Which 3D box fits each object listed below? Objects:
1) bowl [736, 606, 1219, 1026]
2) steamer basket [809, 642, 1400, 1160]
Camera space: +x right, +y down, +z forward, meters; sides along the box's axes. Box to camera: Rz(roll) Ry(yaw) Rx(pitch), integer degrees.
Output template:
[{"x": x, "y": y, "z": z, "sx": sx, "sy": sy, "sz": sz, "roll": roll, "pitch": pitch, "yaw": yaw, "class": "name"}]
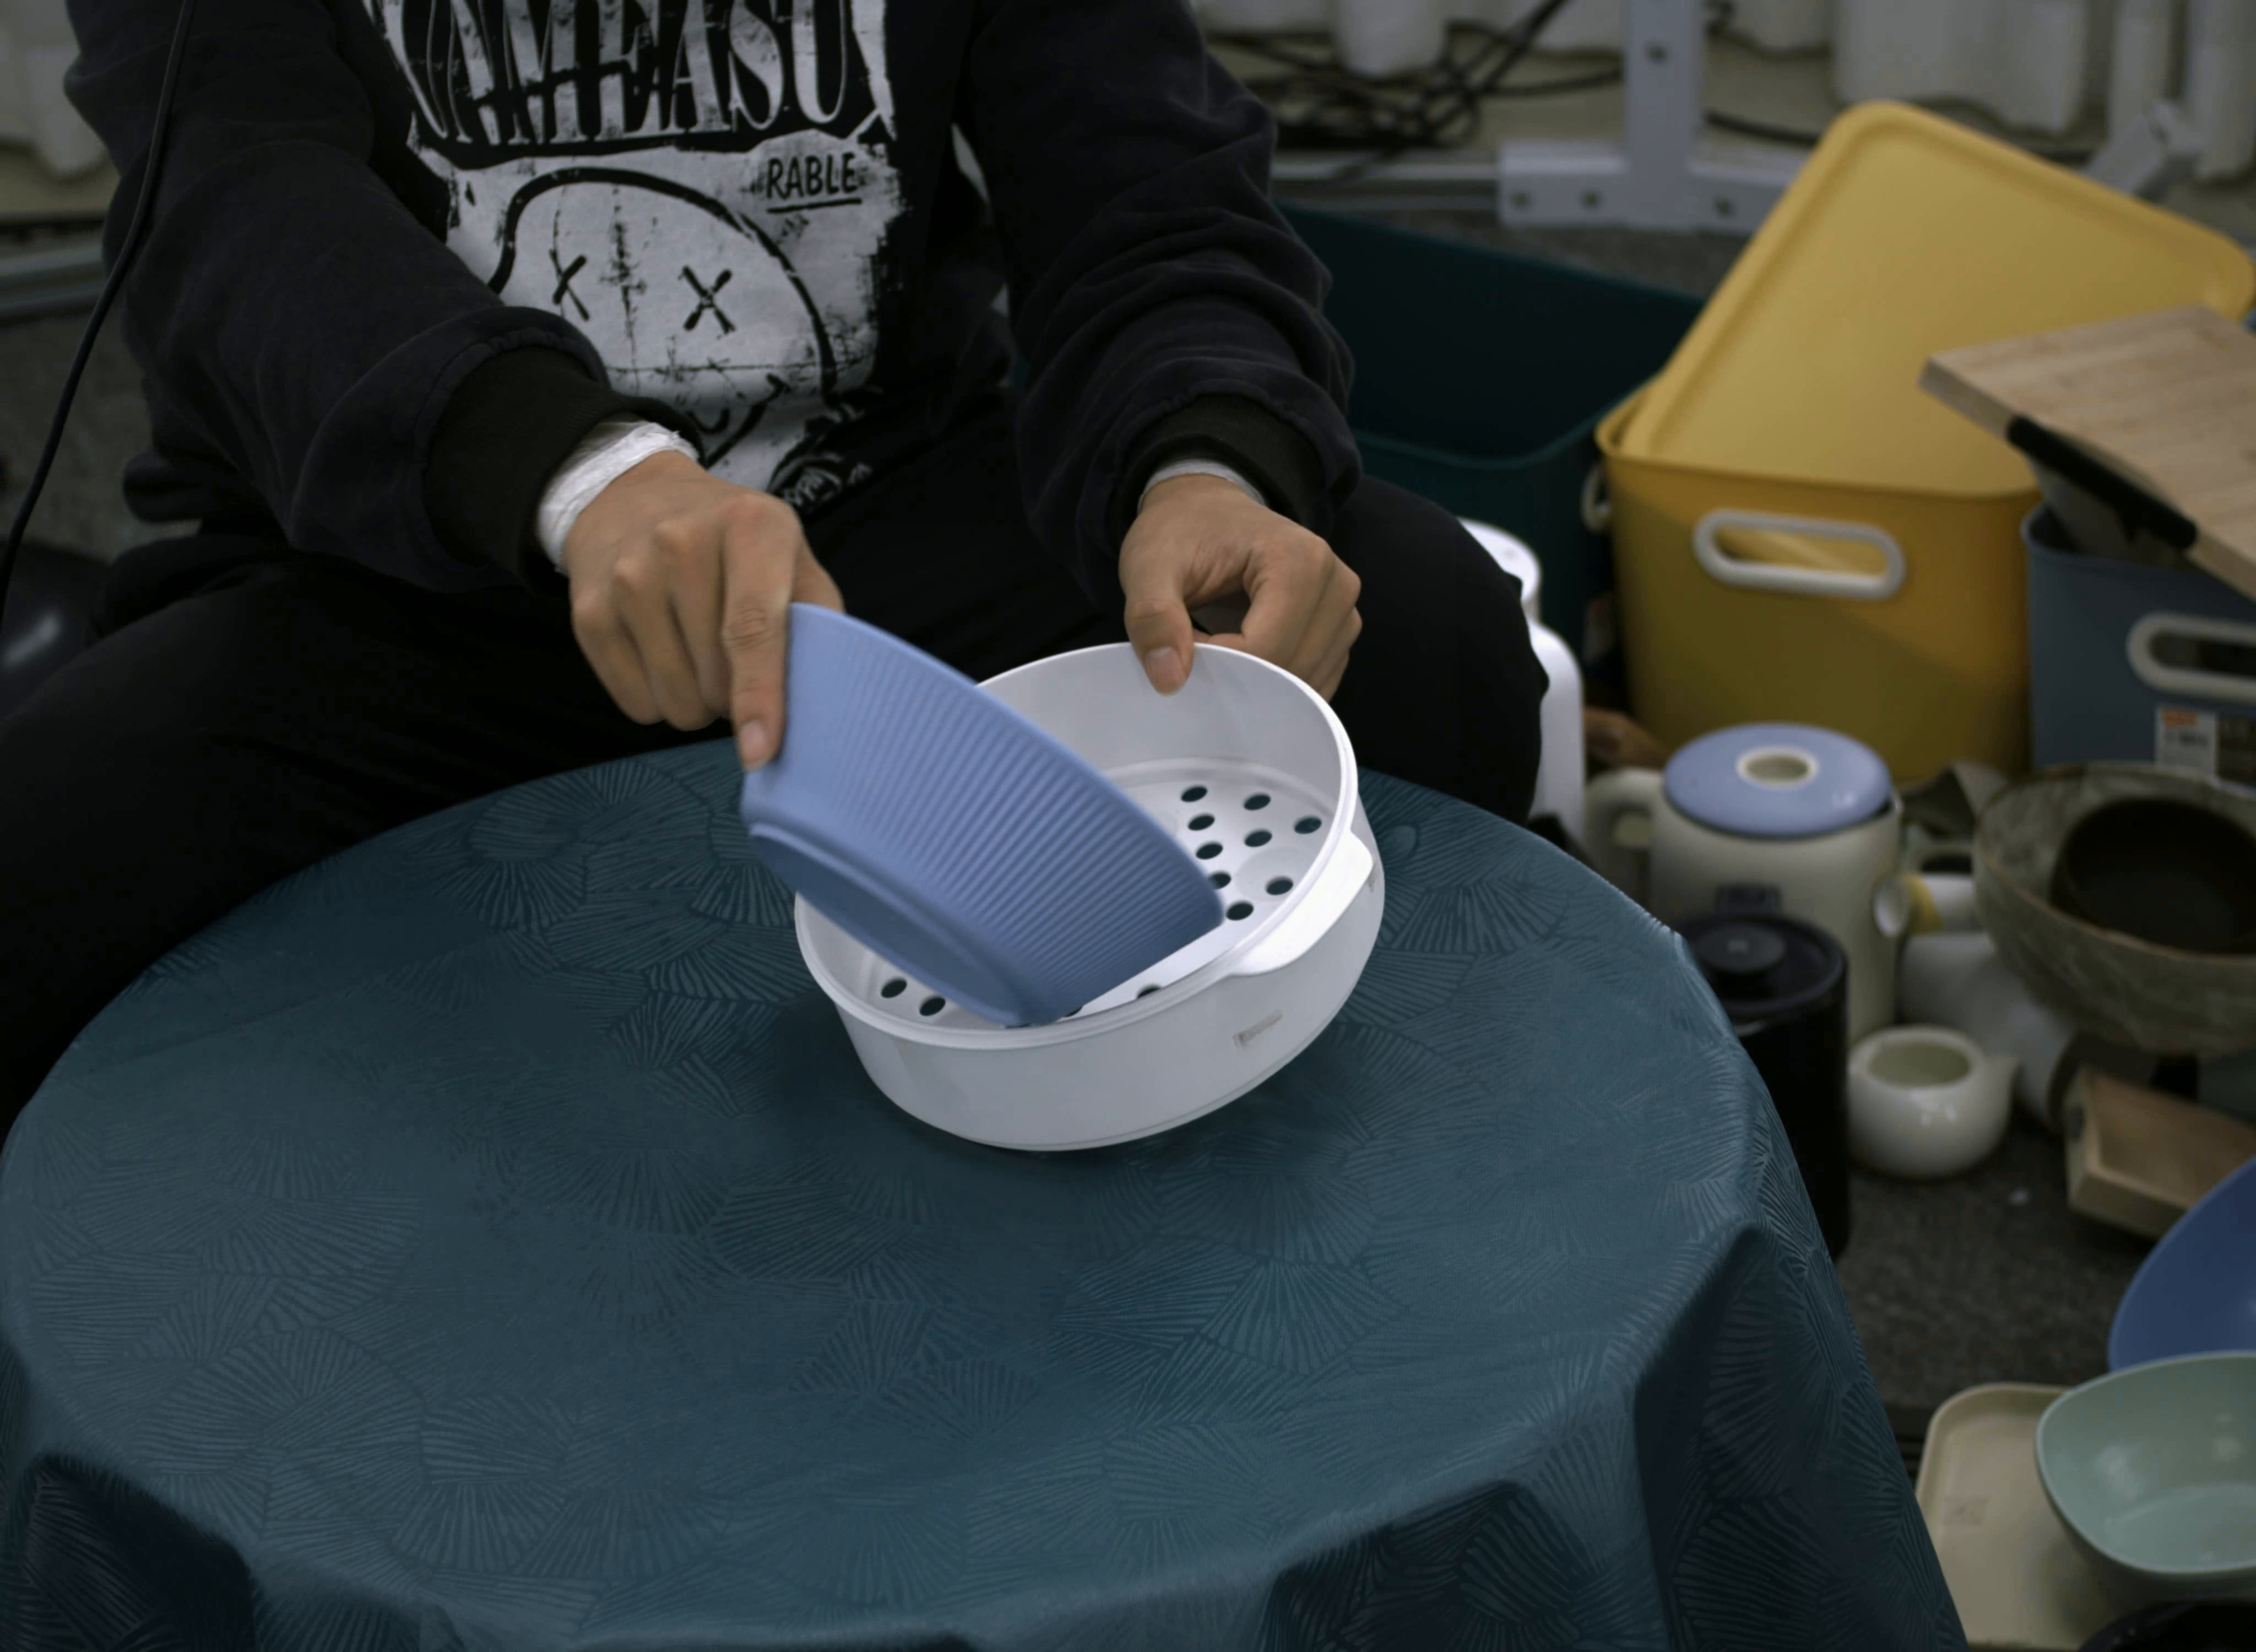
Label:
[{"x": -0.061, "y": 0.006, "z": 1.813, "sx": 0.176, "sy": 0.174, "sz": 0.071, "roll": 25, "pitch": 75, "yaw": 42, "class": "bowl"}, {"x": -0.005, "y": 0.026, "z": 1.924, "sx": 0.229, "sy": 0.068, "sz": 0.205, "roll": 17, "pitch": 50, "yaw": 35, "class": "steamer basket"}]
